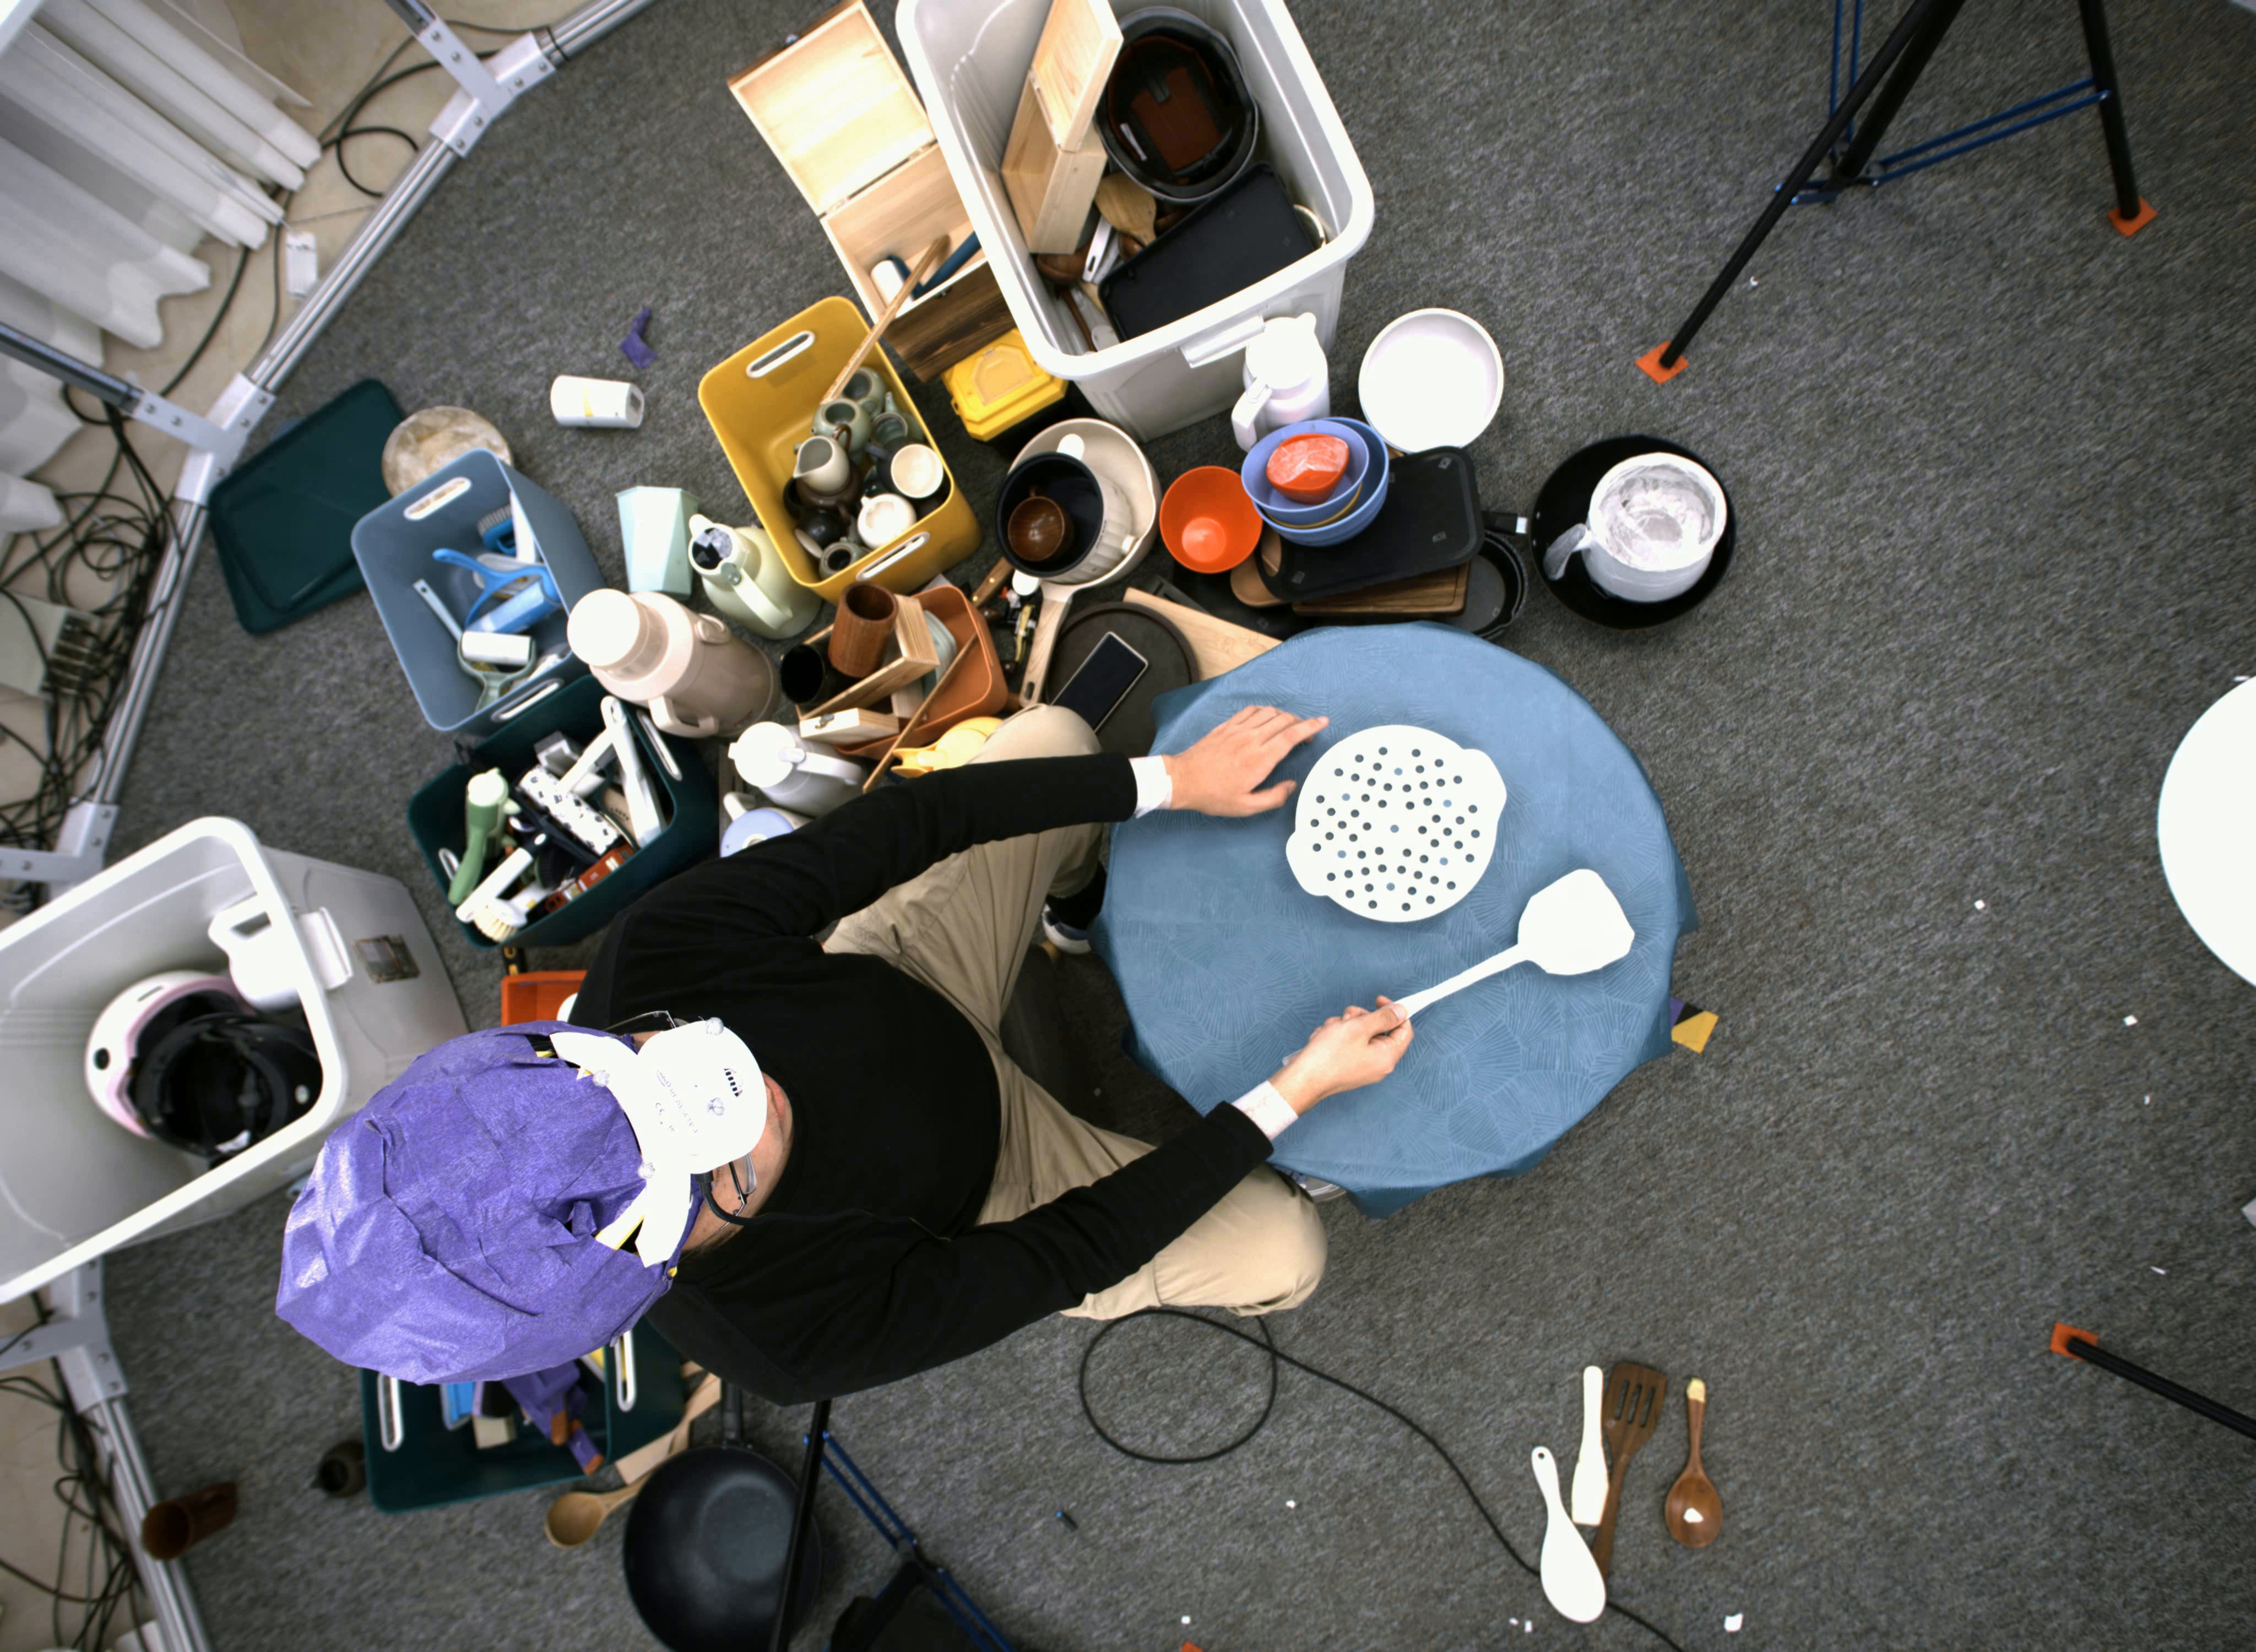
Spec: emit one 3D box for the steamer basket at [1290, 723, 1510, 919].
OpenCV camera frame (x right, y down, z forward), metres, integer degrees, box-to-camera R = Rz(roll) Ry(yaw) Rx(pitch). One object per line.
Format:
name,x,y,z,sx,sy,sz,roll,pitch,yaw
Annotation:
steamer basket,0.281,-0.004,1.427,0.232,0.069,0.200,-26,81,9

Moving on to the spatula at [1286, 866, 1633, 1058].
spatula,0.327,0.152,1.382,0.365,0.045,0.098,-25,80,-2
